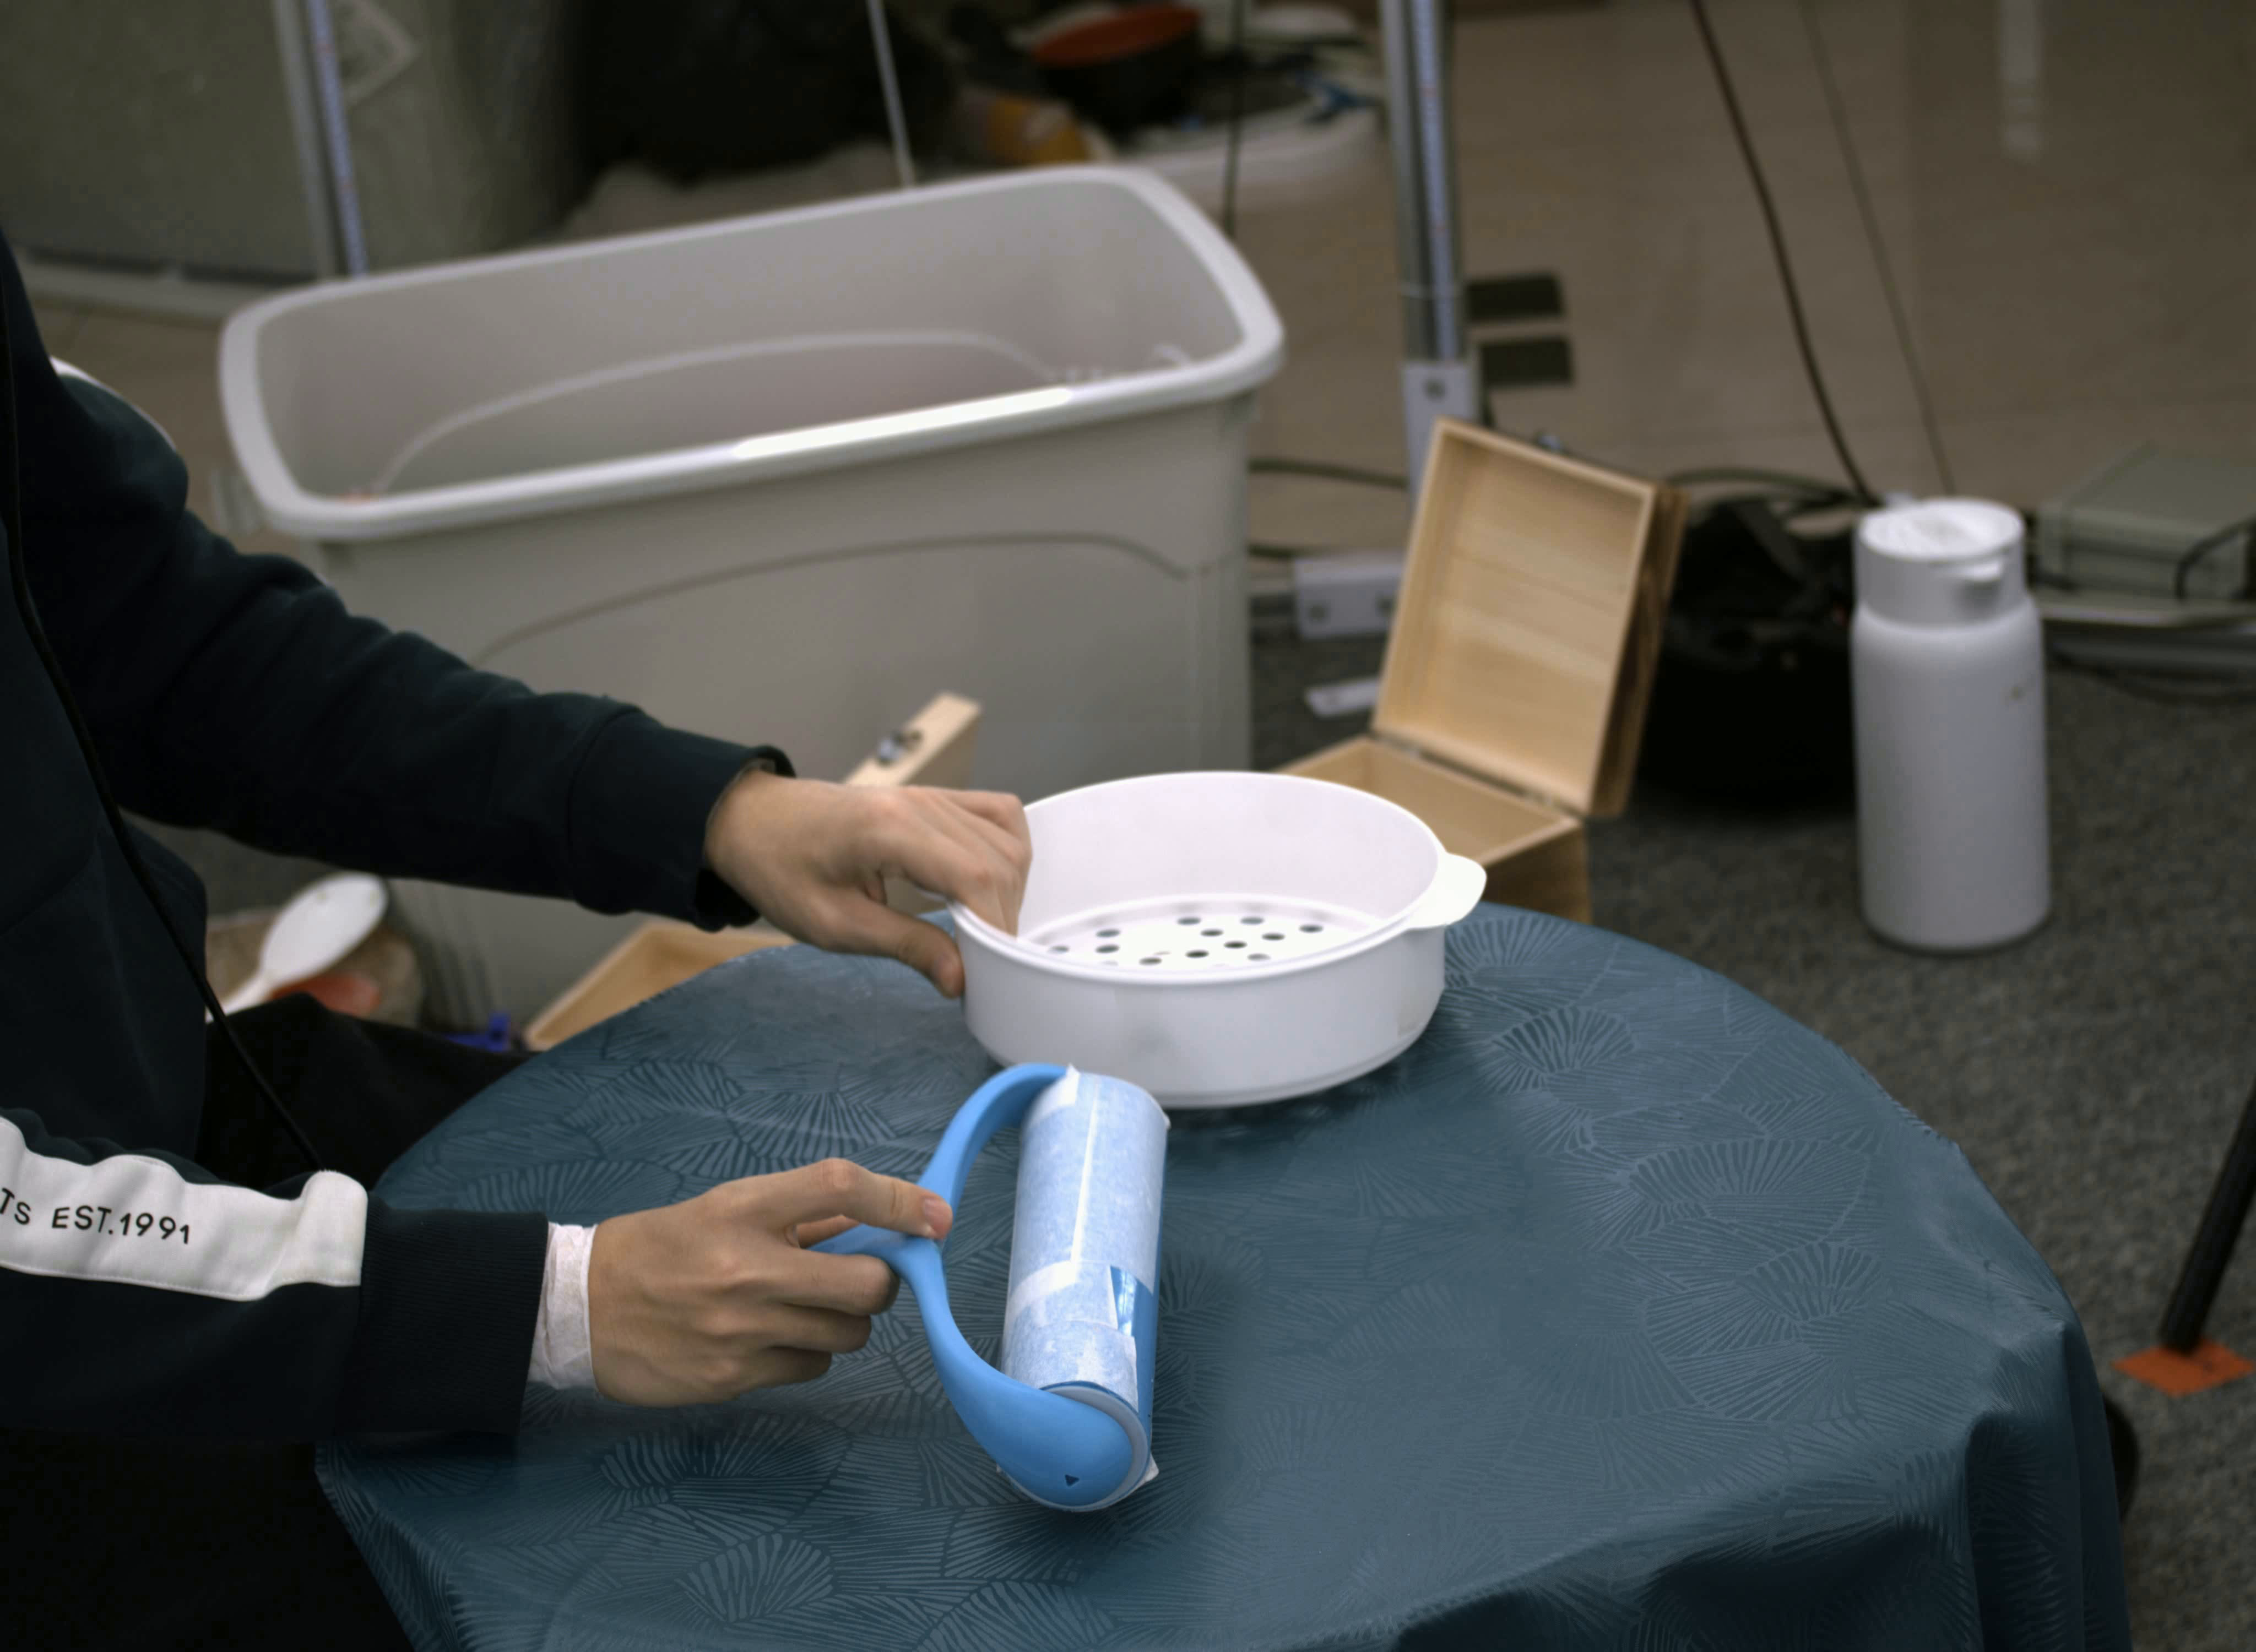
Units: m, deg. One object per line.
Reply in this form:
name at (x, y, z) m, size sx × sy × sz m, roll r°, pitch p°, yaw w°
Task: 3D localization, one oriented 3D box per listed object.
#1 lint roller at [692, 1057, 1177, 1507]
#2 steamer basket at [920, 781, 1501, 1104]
lint roller at (-0.070, 0.167, 2.000) m, size 0.180 × 0.069 × 0.225 m, roll -8°, pitch 33°, yaw 2°
steamer basket at (0.033, 0.046, 2.240) m, size 0.230 × 0.070 × 0.199 m, roll 2°, pitch 21°, yaw 15°
